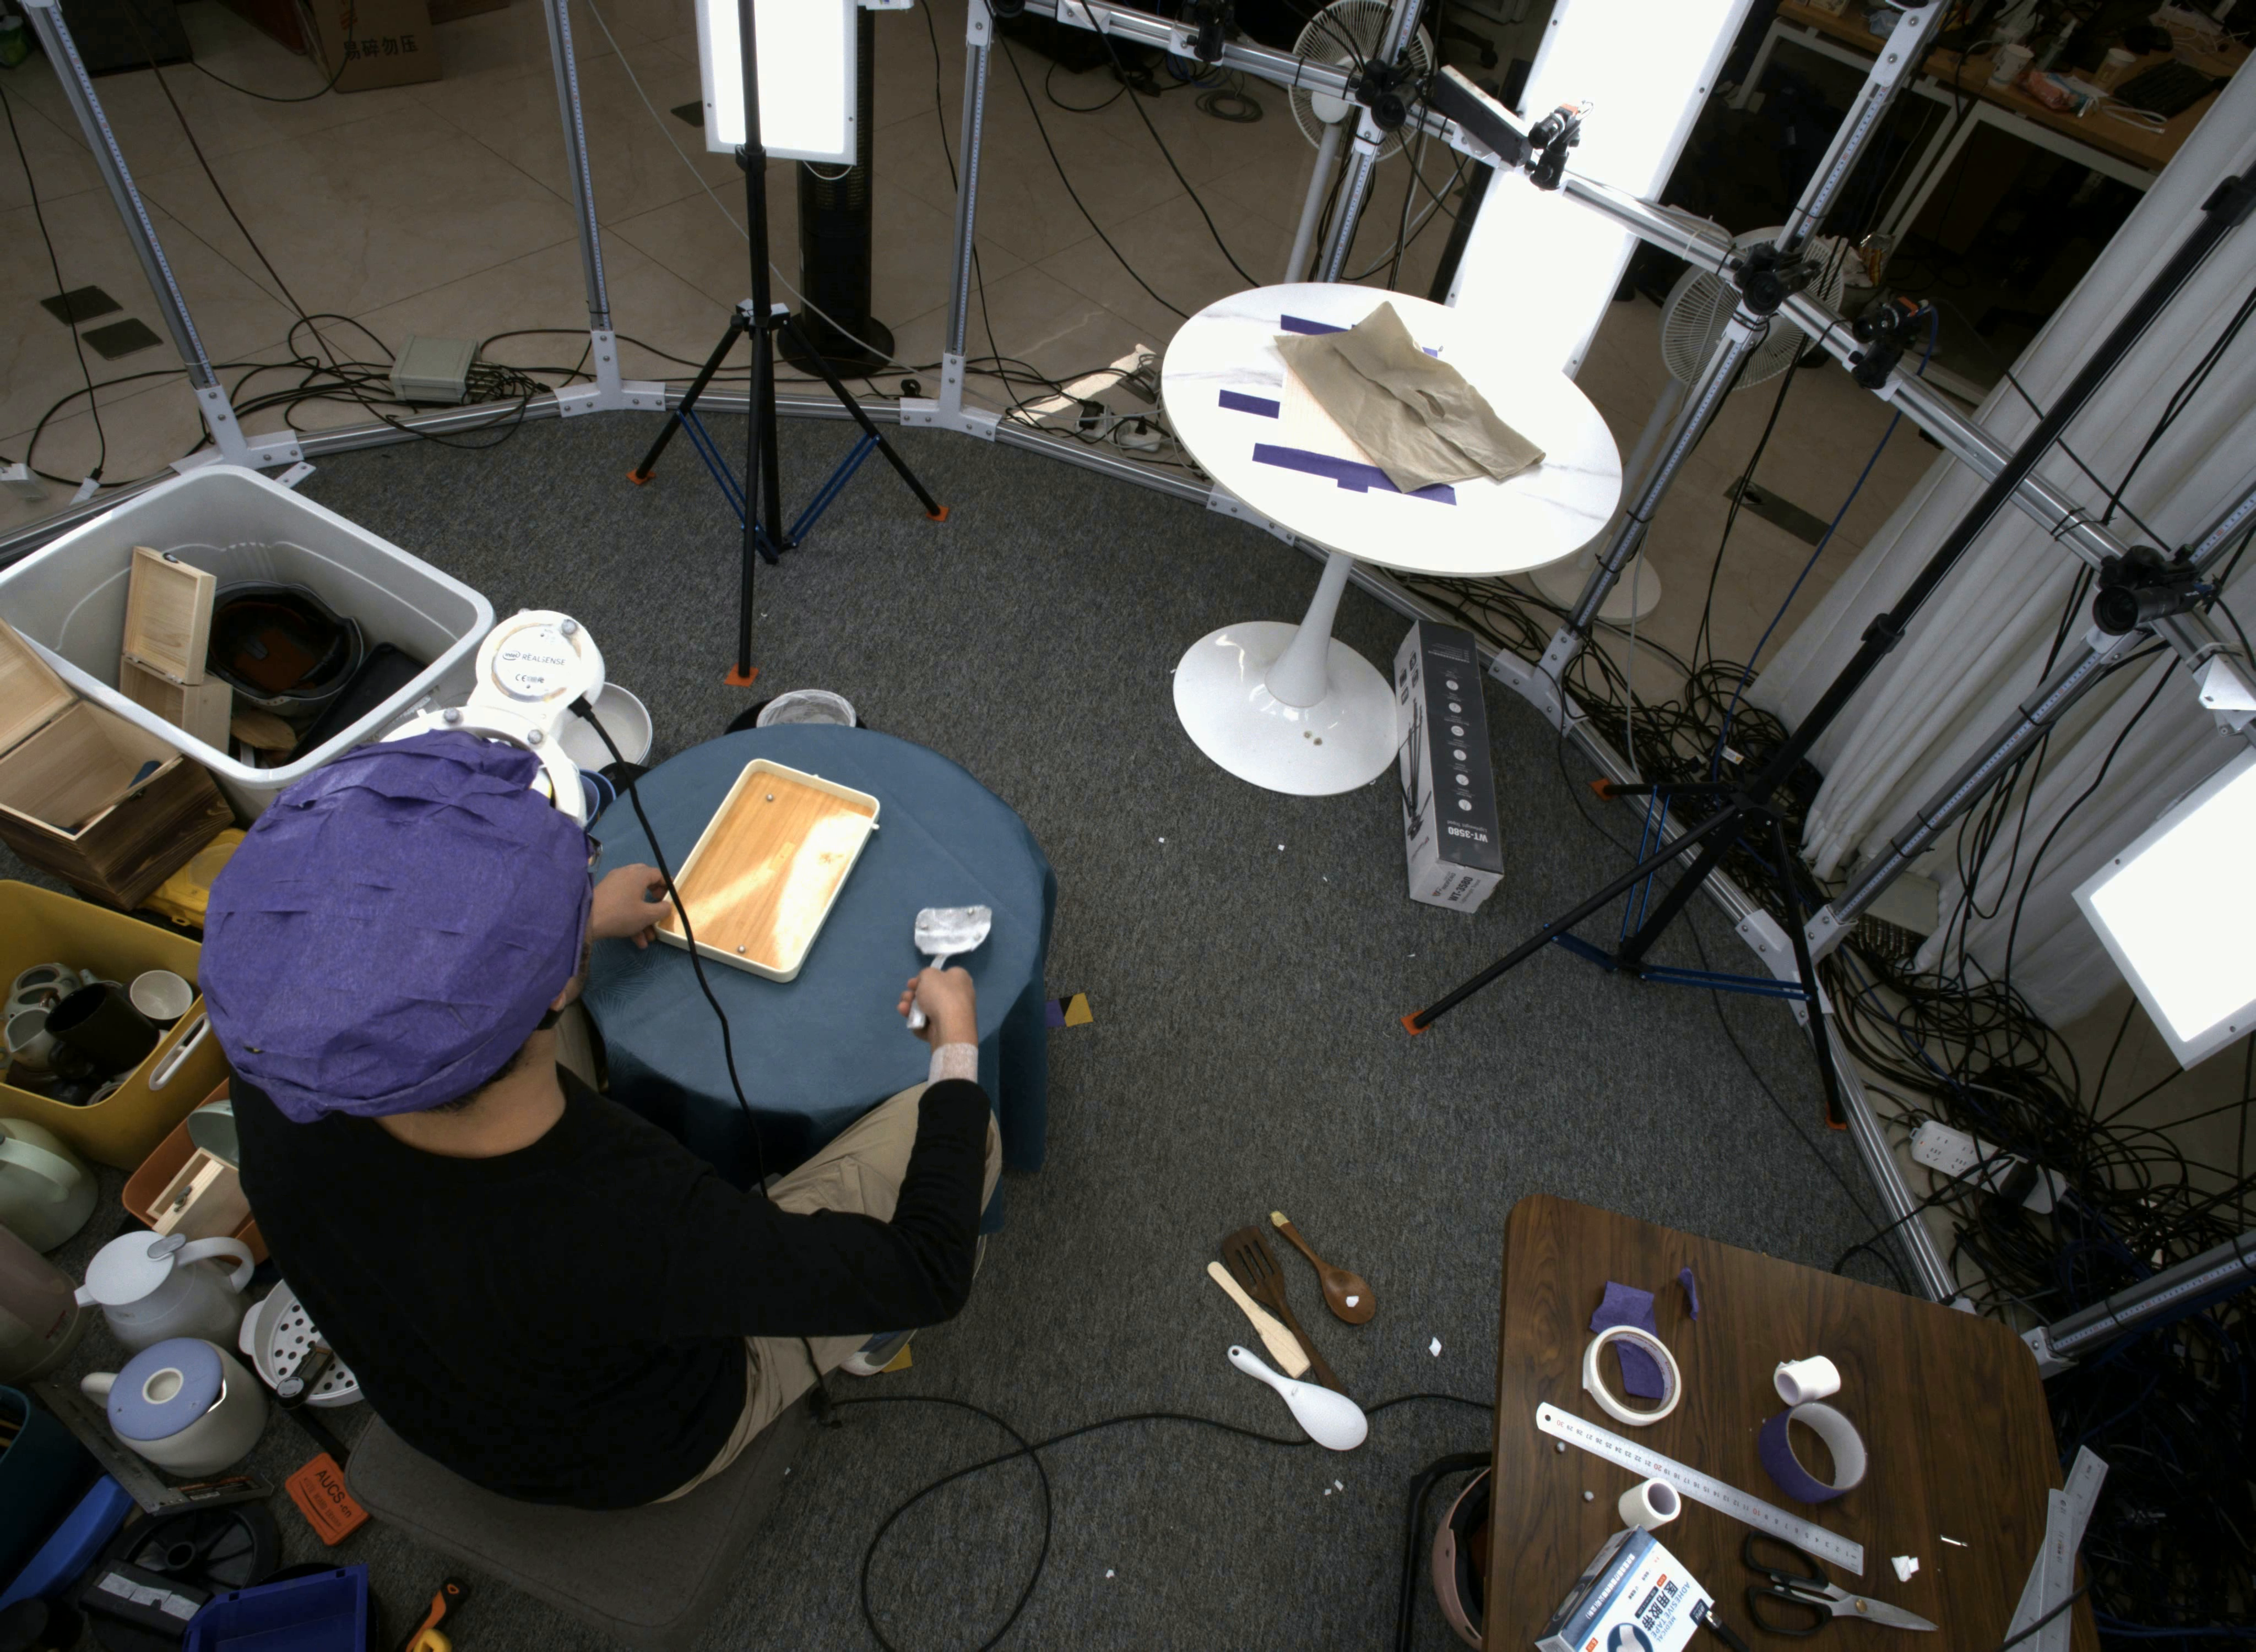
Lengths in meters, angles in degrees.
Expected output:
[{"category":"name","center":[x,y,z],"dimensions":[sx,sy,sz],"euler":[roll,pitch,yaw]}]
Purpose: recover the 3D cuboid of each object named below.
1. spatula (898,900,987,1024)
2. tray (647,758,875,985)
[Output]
[{"category":"spatula","center":[-0.228,0.148,1.516],"dimensions":[0.097,0.046,0.360],"euler":[-3,10,0]},{"category":"tray","center":[-0.462,0.050,1.651],"dimensions":[0.190,0.028,0.297],"euler":[20,51,-1]}]
